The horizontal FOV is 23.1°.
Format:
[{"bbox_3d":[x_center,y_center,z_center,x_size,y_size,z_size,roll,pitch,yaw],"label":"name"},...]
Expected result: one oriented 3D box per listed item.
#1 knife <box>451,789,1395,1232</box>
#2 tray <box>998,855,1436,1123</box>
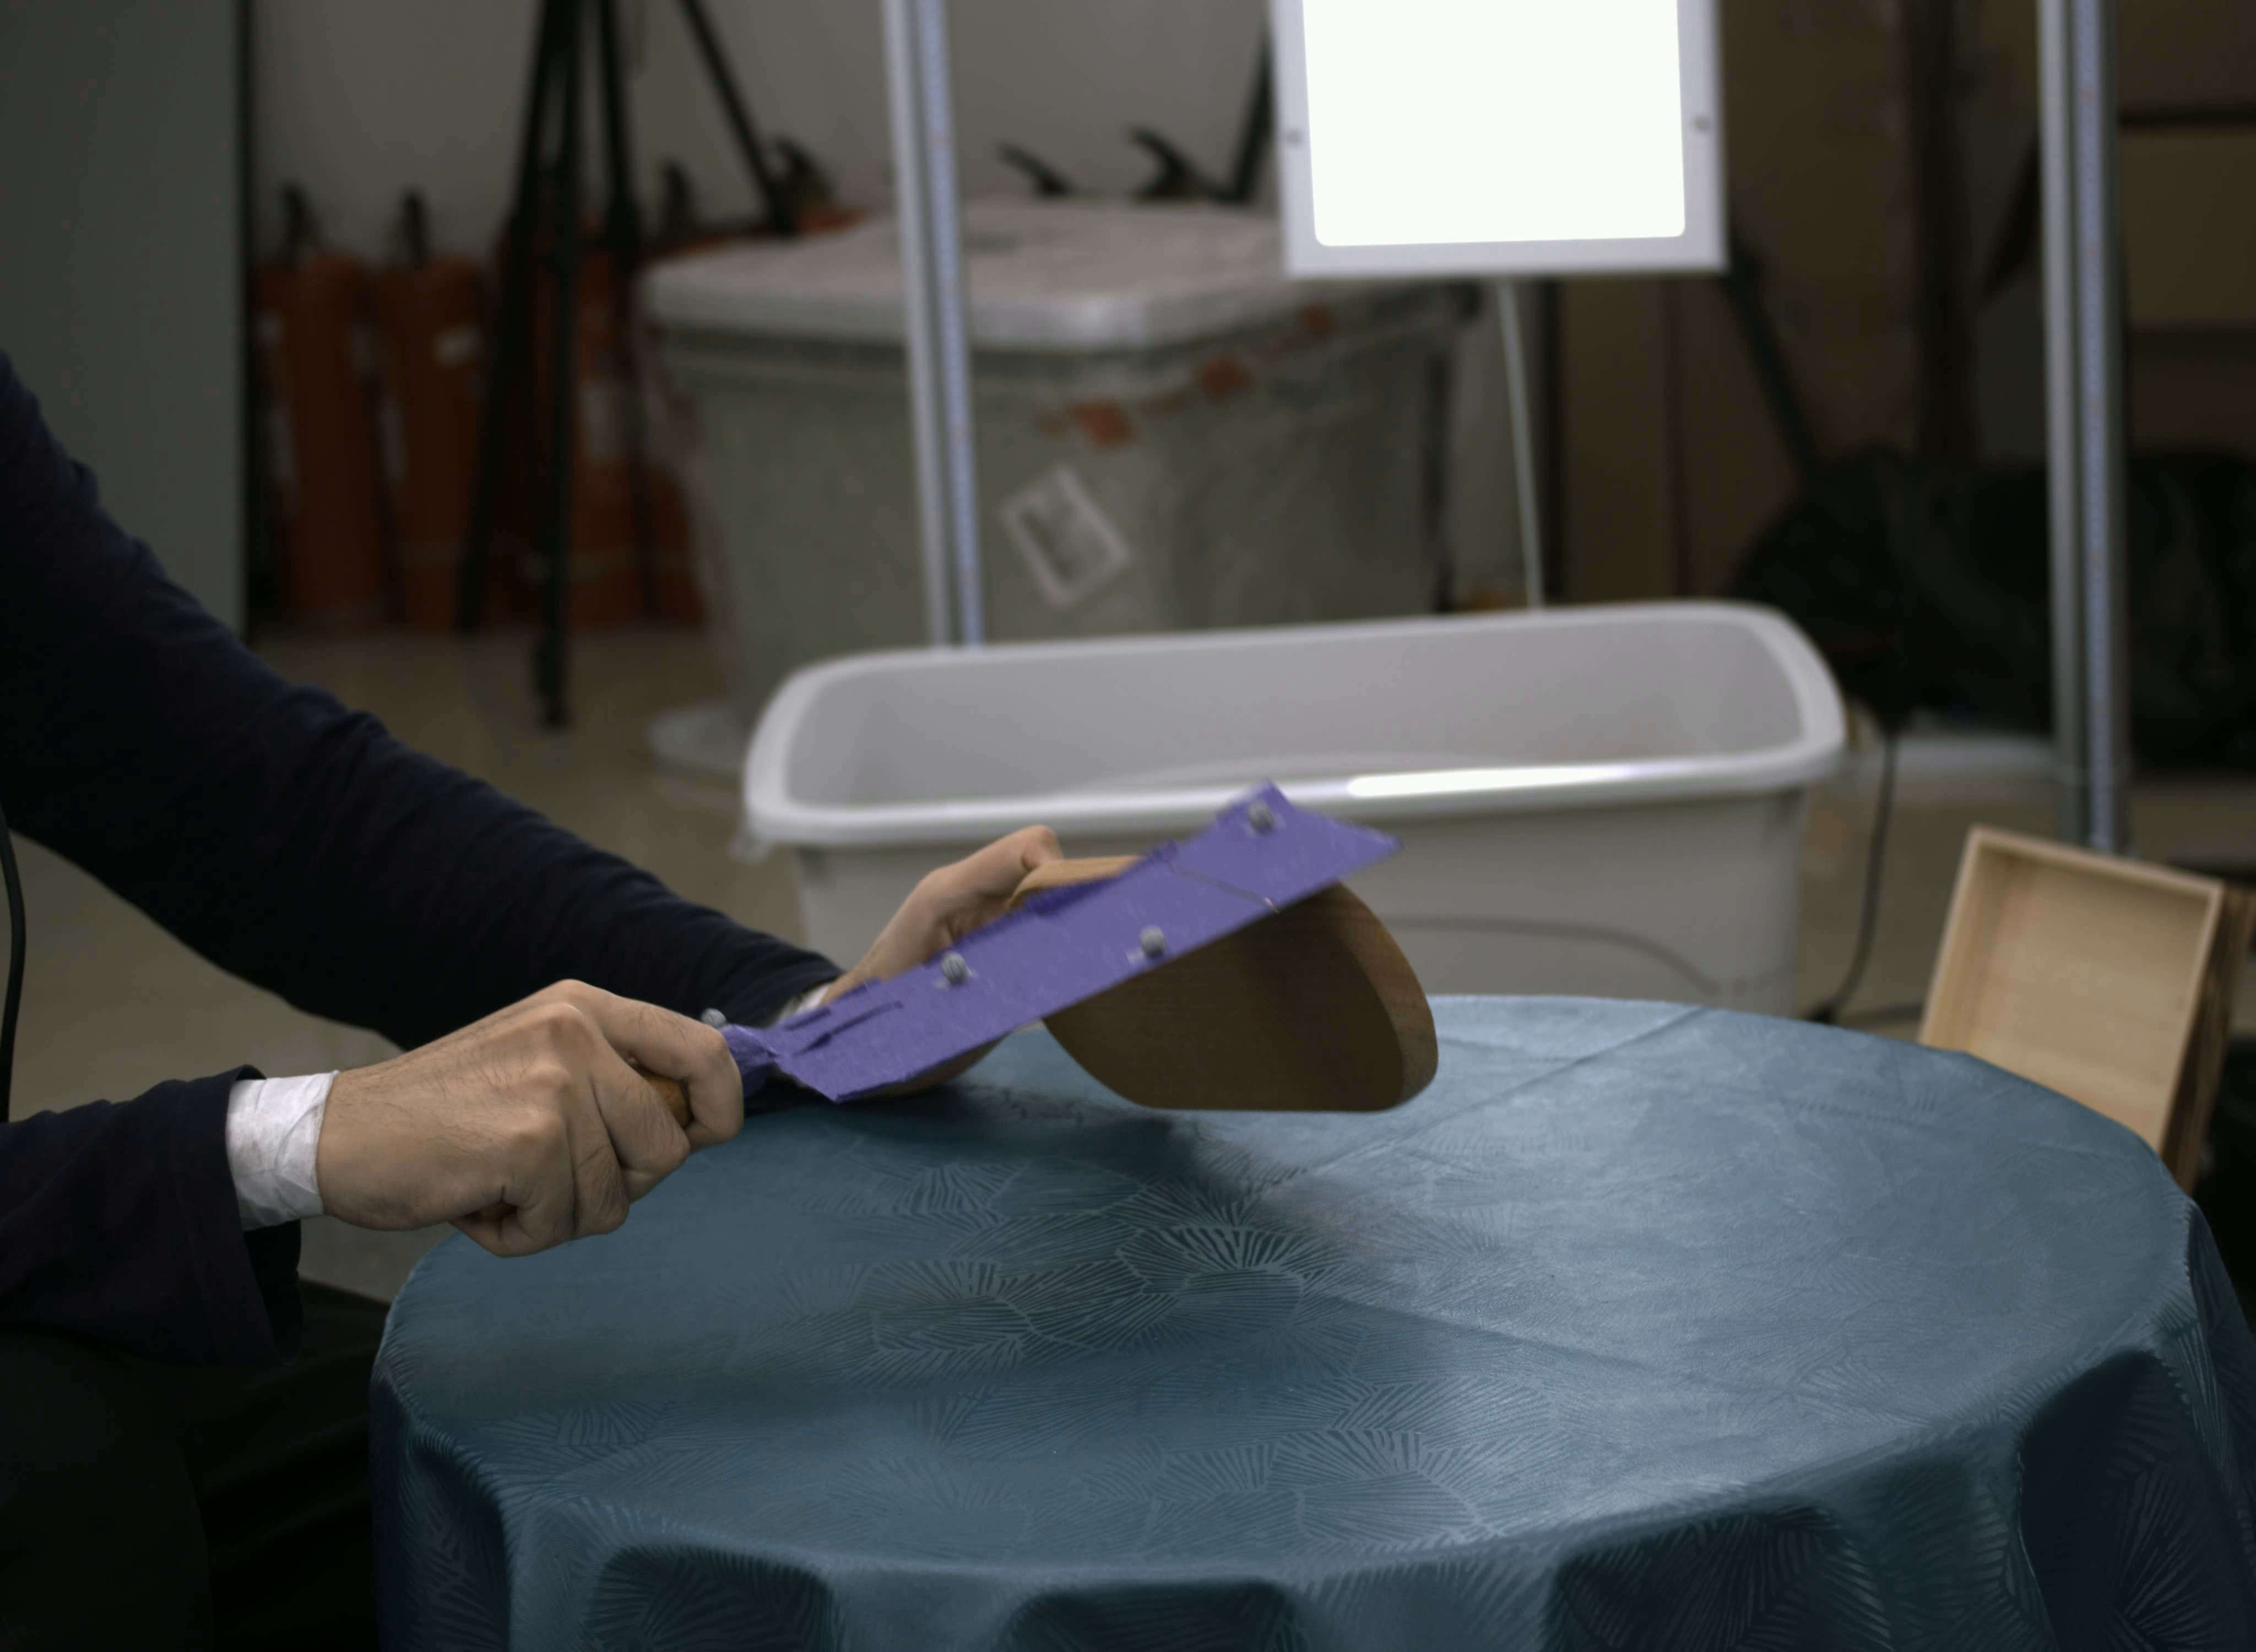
[{"bbox_3d":[-0.063,0.056,1.757,0.310,0.032,0.105,-26,17,-17],"label":"knife"},{"bbox_3d":[0.027,0.057,1.896,0.020,0.101,0.236,-35,17,-29],"label":"tray"}]
